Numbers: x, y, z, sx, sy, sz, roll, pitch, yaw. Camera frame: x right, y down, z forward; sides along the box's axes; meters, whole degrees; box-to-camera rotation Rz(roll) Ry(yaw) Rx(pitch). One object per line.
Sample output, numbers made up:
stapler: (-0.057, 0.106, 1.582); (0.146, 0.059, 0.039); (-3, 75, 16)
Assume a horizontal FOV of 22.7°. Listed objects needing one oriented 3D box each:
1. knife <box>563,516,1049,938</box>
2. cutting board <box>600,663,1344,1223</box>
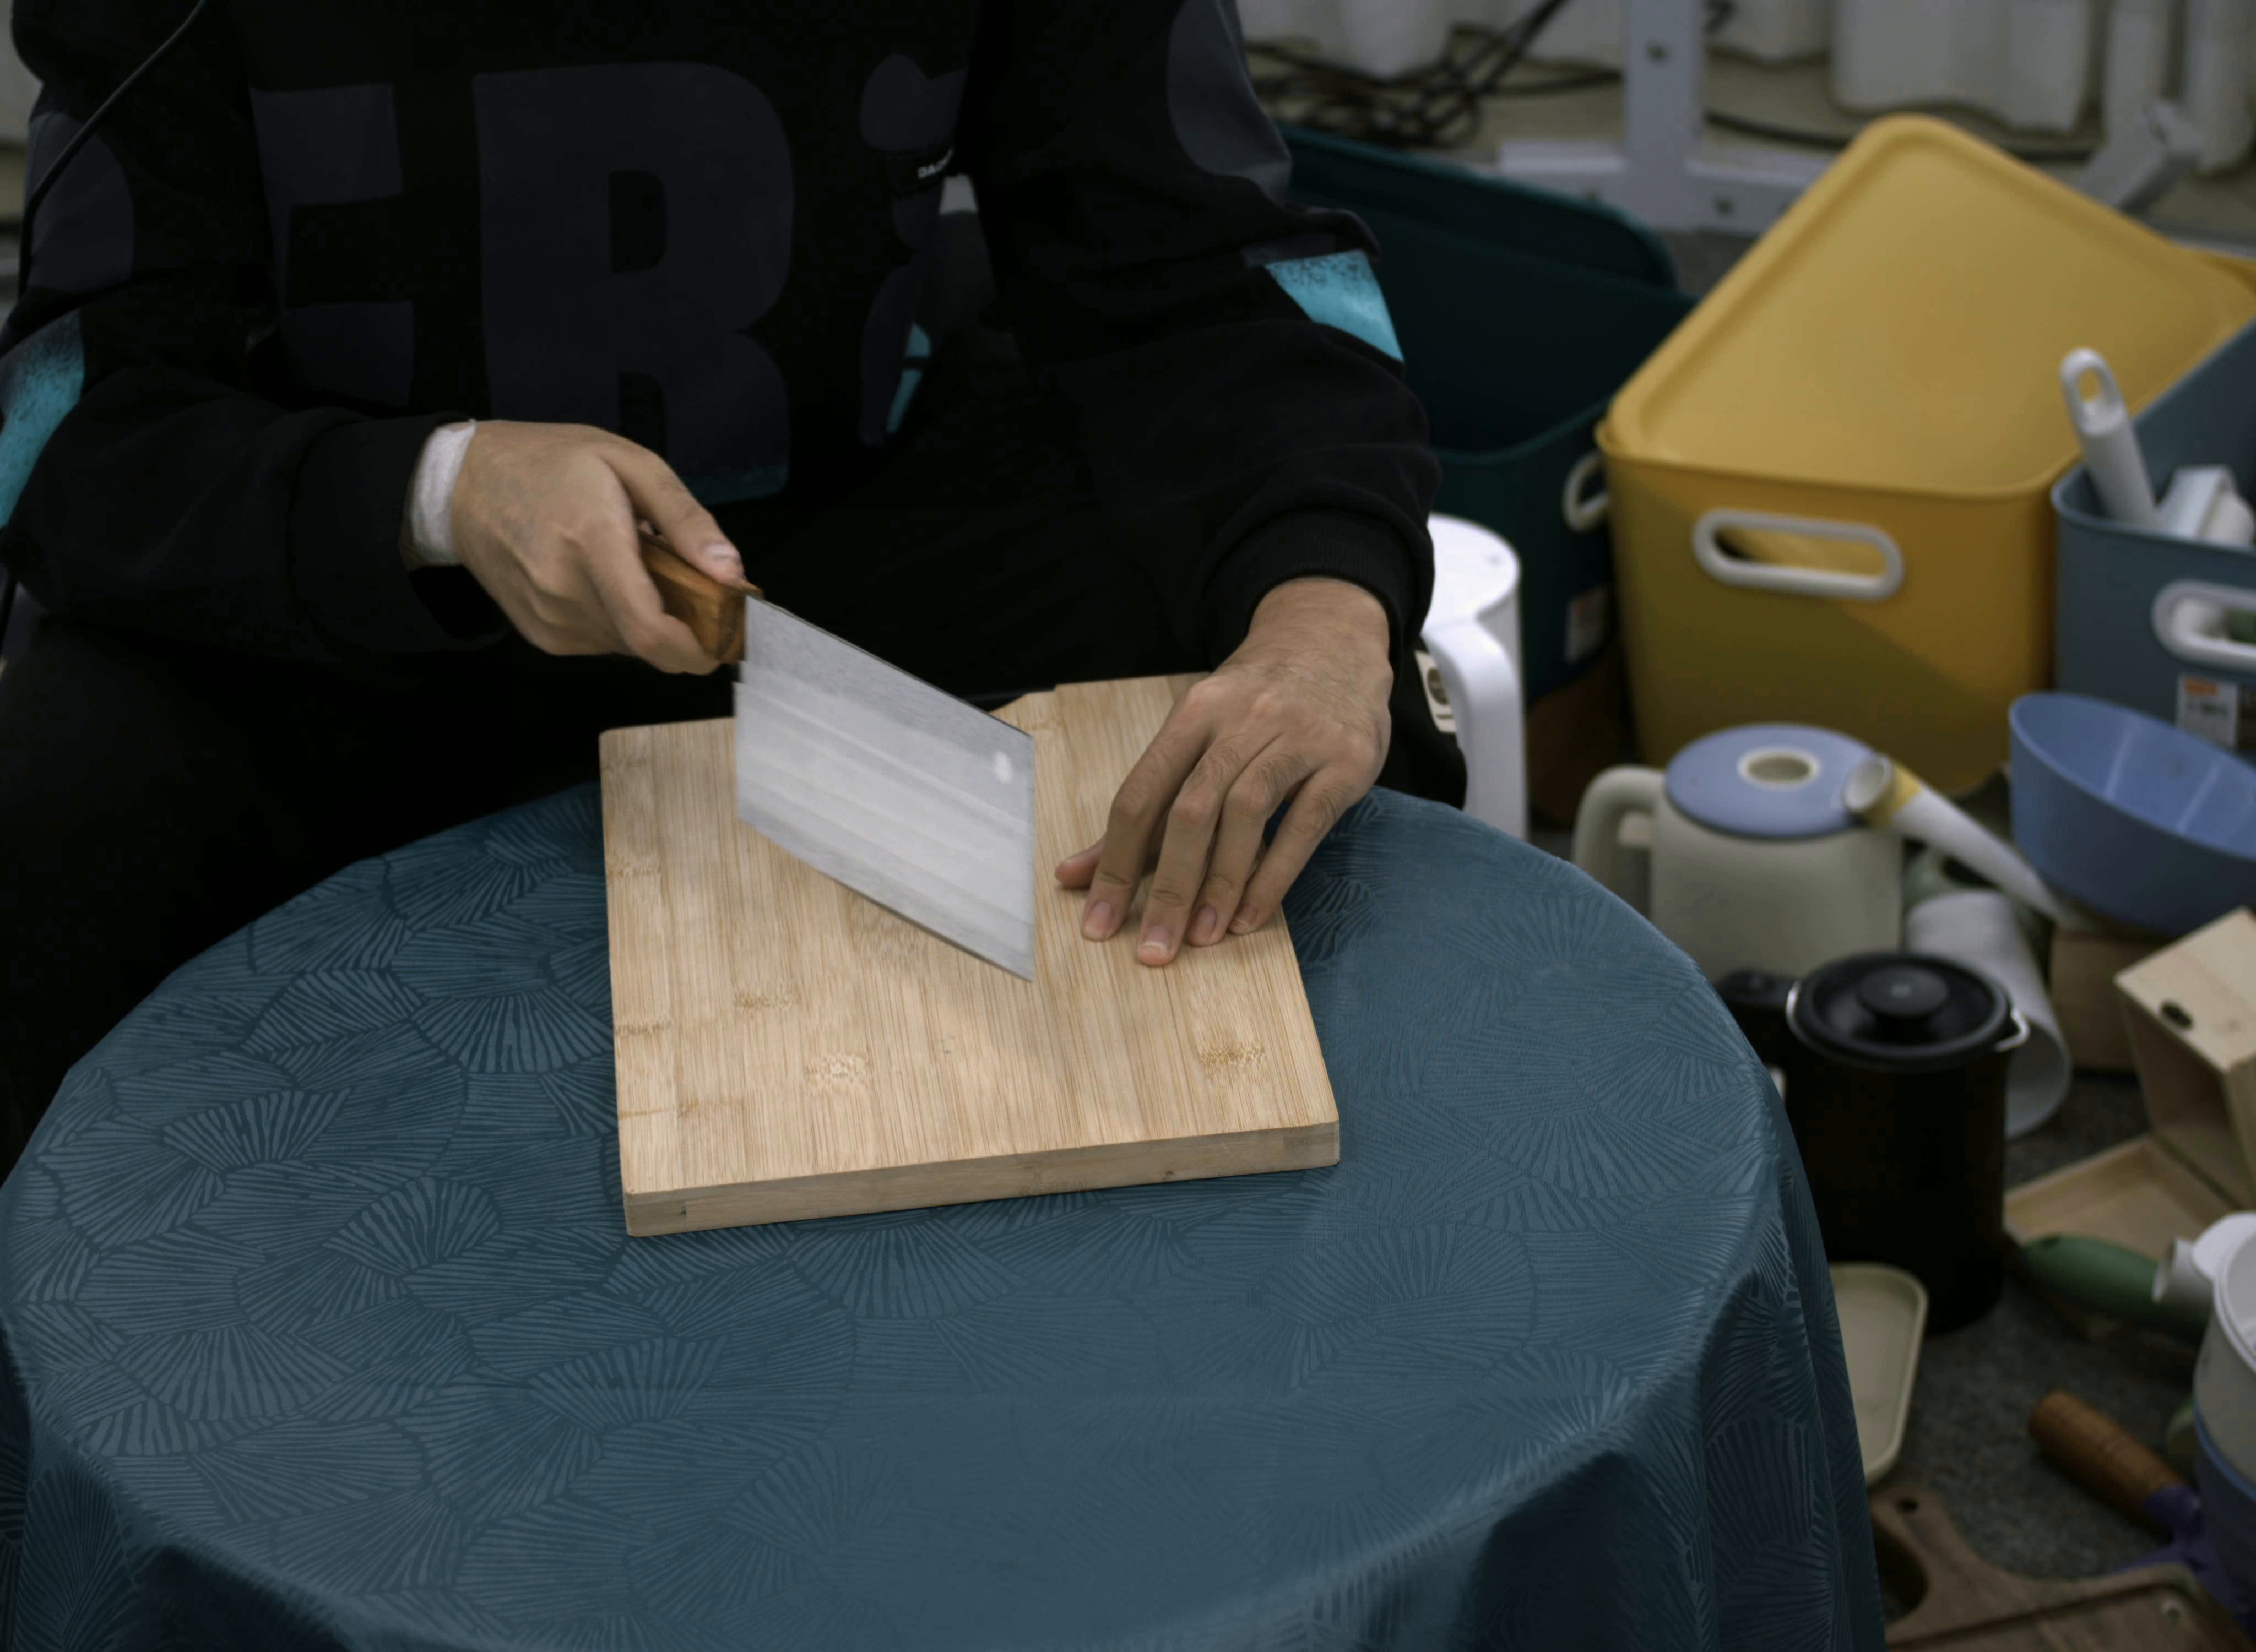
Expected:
knife: (-0.115, -0.034, 1.977); (0.021, 0.092, 0.306); (-14, 25, -33)
cutting board: (-0.065, 0.037, 2.012); (0.250, 0.023, 0.353); (-6, 28, -5)
